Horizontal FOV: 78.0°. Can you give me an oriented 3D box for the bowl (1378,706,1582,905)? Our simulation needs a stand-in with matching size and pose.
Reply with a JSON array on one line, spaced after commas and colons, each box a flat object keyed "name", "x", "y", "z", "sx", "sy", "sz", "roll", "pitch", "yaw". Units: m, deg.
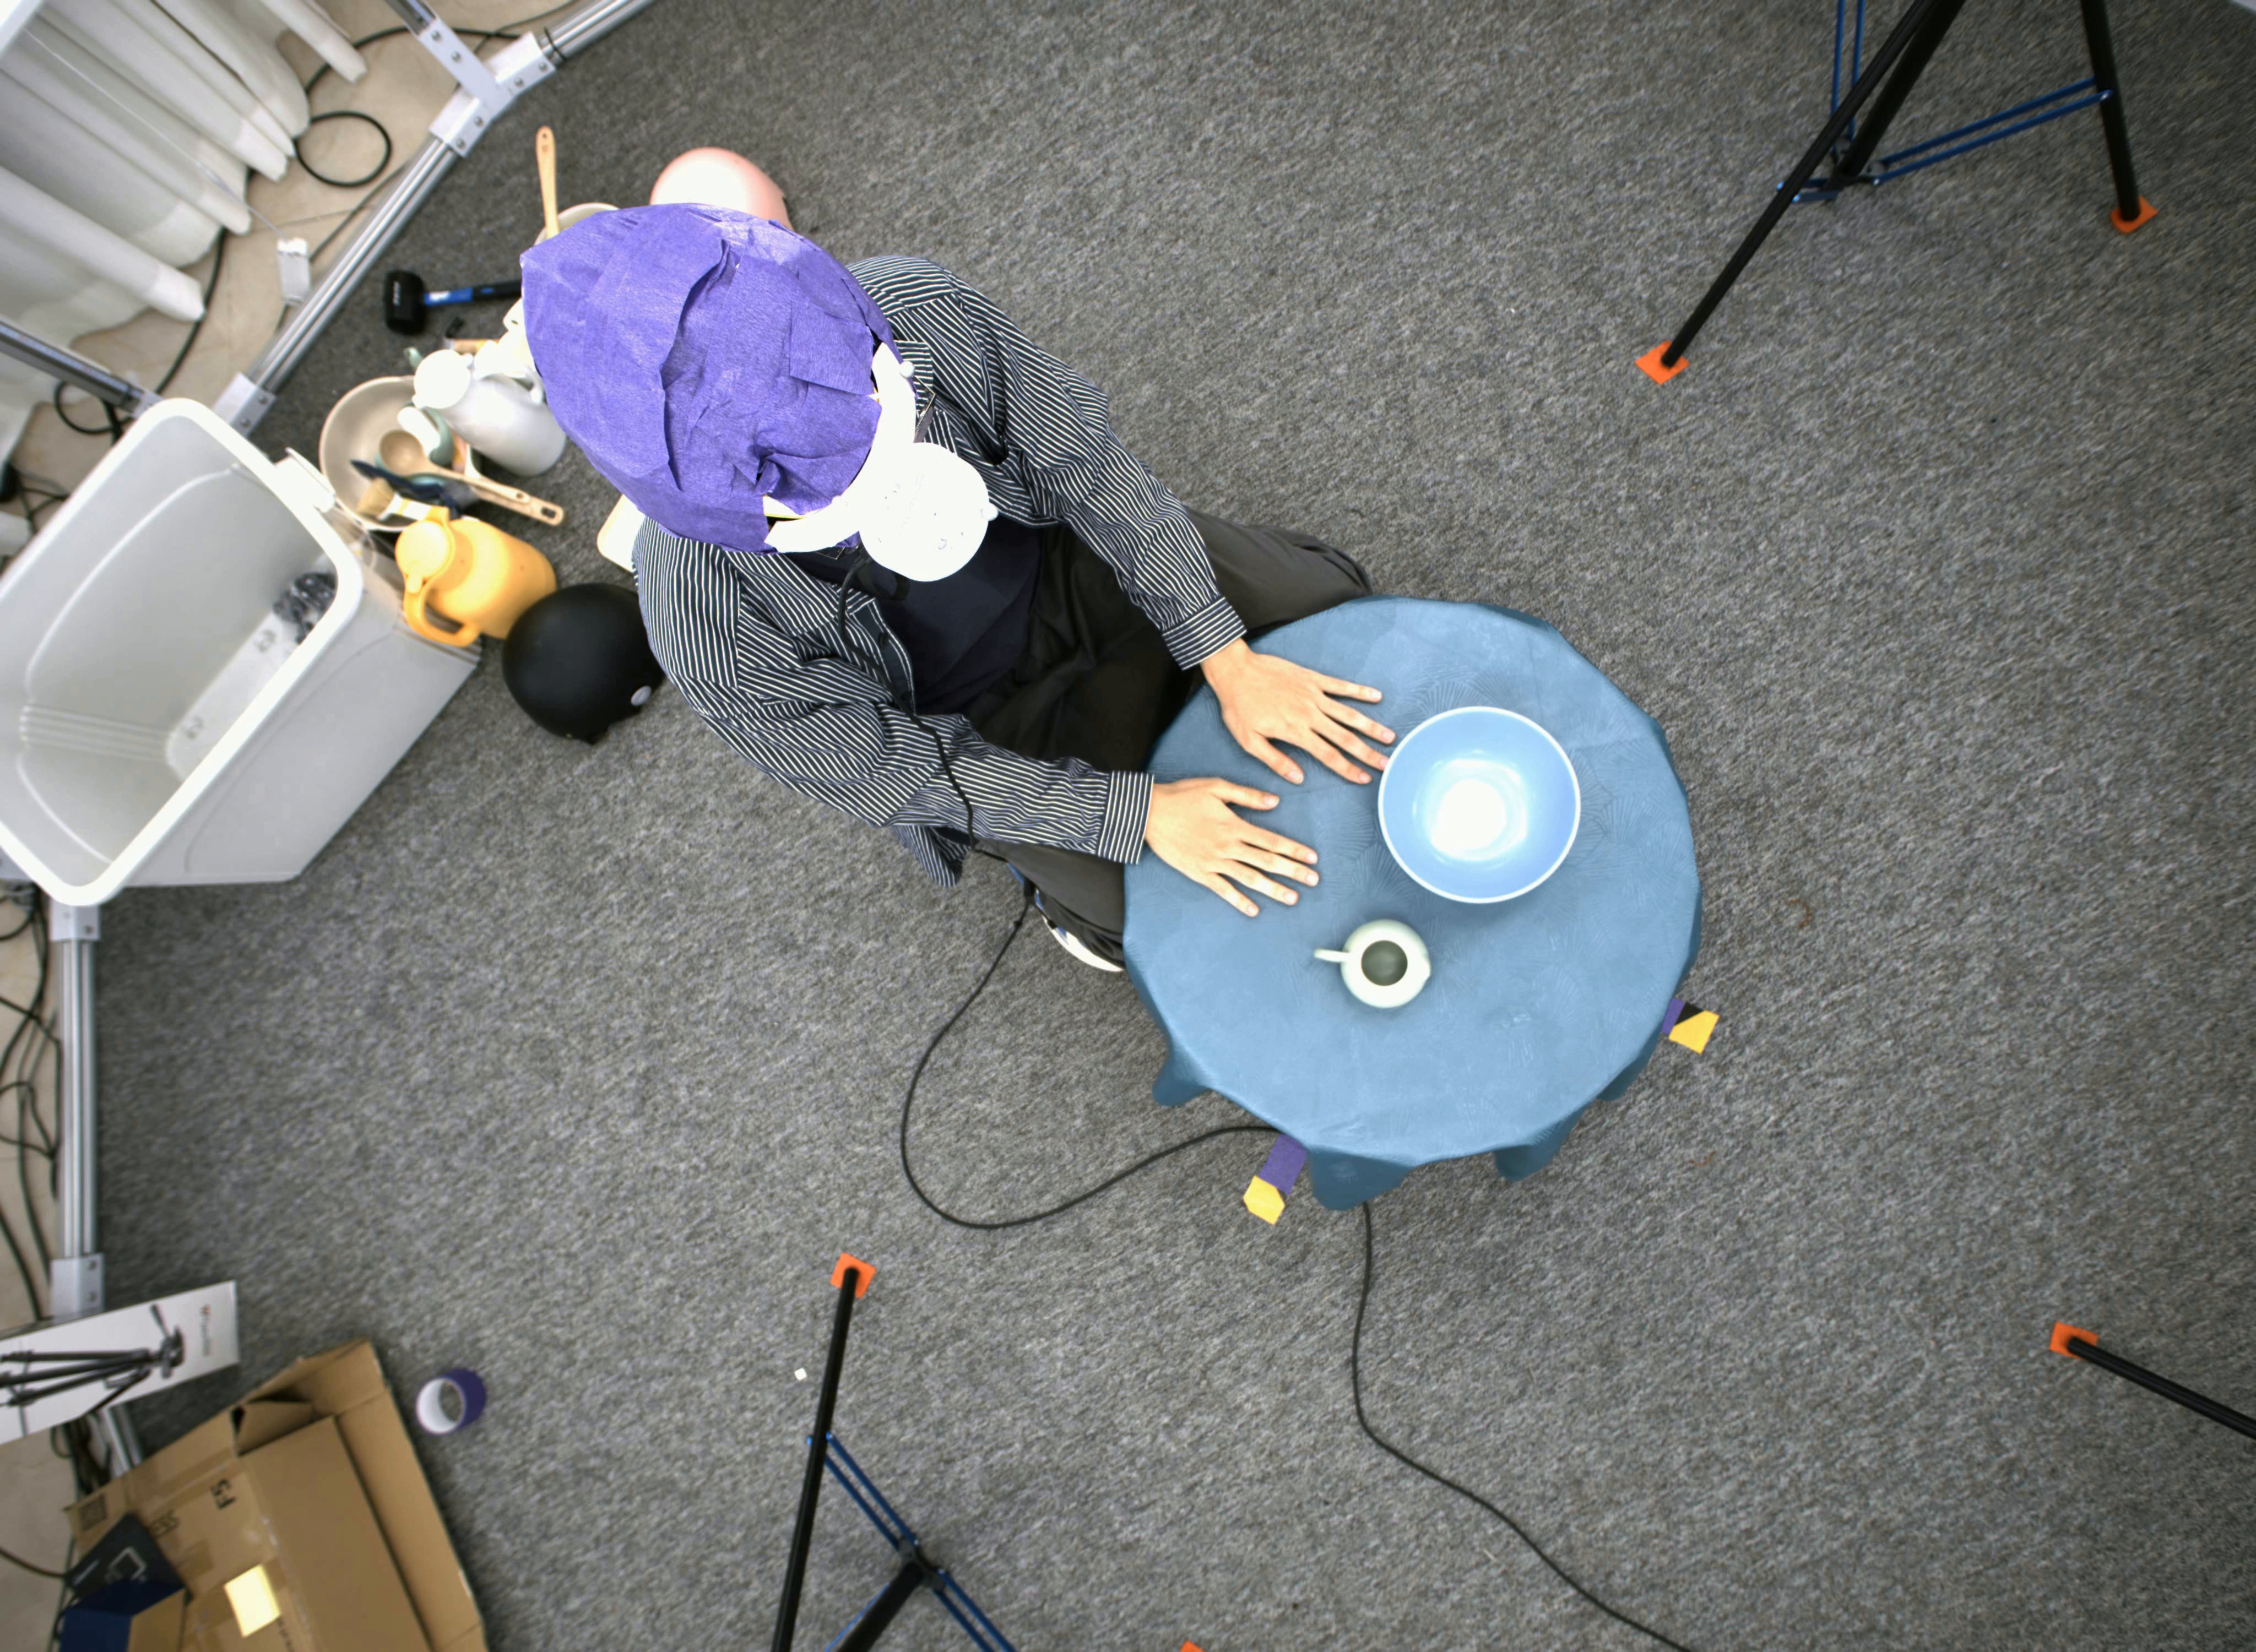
[{"name": "bowl", "x": 0.352, "y": -0.019, "z": 1.391, "sx": 0.197, "sy": 0.095, "sz": 0.196, "roll": -1, "pitch": 88, "yaw": 10}]

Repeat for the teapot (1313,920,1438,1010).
[{"name": "teapot", "x": 0.253, "y": 0.139, "z": 1.419, "sx": 0.129, "sy": 0.061, "sz": 0.091, "roll": 12, "pitch": 91, "yaw": 11}]
